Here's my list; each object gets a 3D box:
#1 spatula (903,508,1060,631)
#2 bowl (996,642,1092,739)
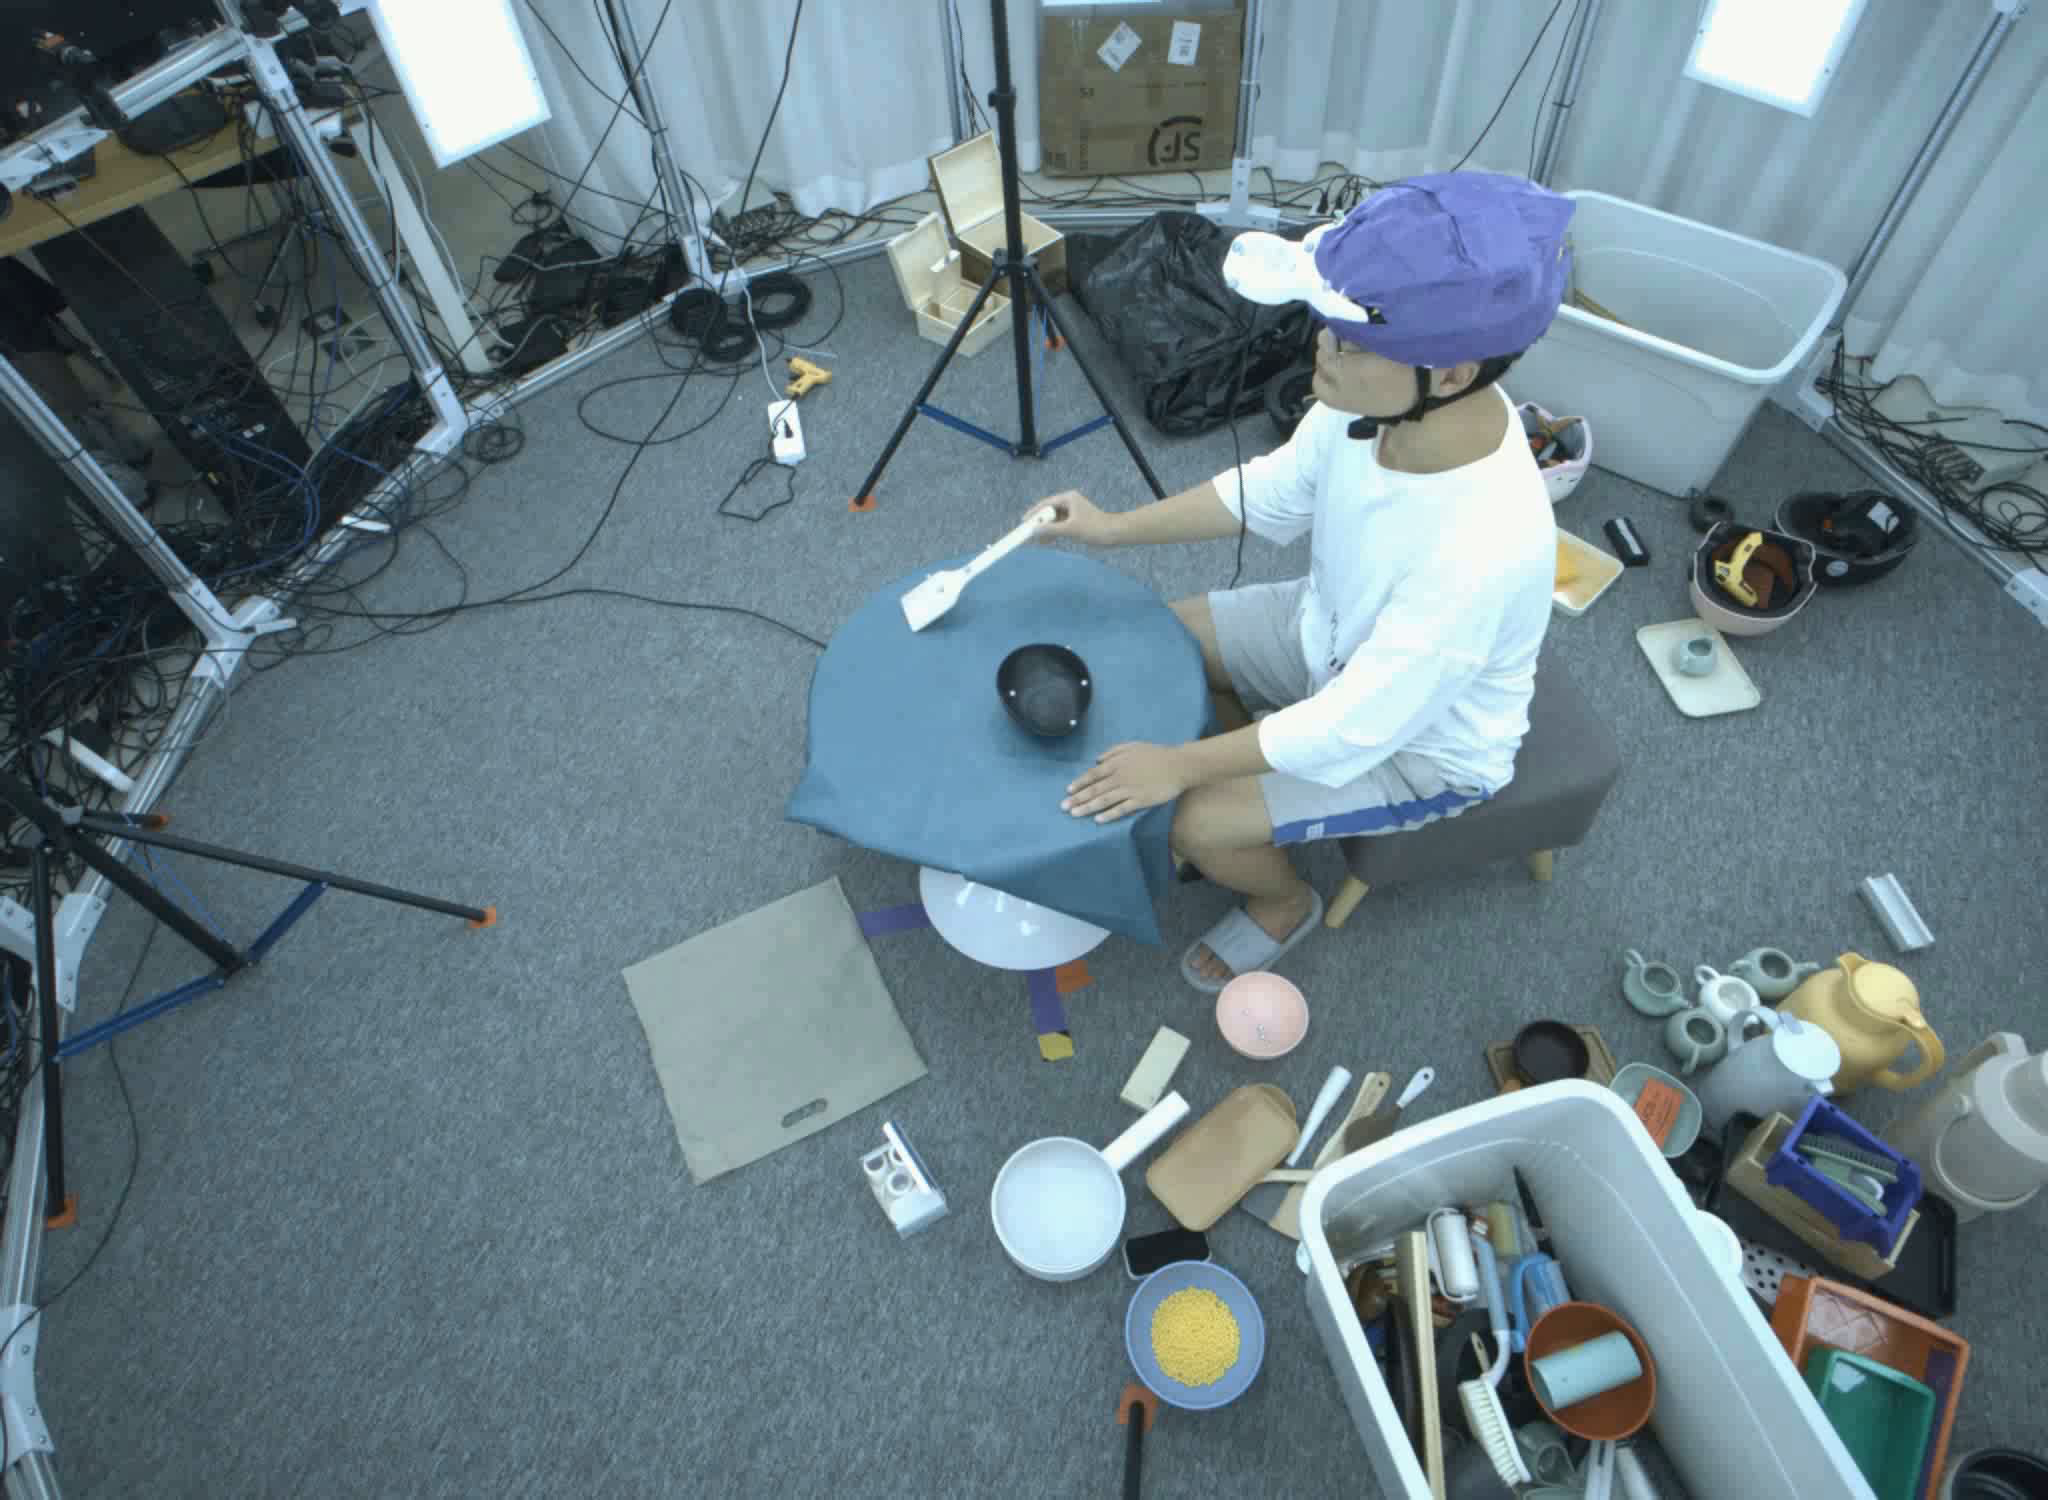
[{"bbox_3d":[-0.066,-0.286,1.894,0.291,0.011,0.071,-32,64,17],"label":"spatula"},{"bbox_3d":[0.031,-0.079,1.801,0.138,0.067,0.167,-16,57,-10],"label":"bowl"}]
